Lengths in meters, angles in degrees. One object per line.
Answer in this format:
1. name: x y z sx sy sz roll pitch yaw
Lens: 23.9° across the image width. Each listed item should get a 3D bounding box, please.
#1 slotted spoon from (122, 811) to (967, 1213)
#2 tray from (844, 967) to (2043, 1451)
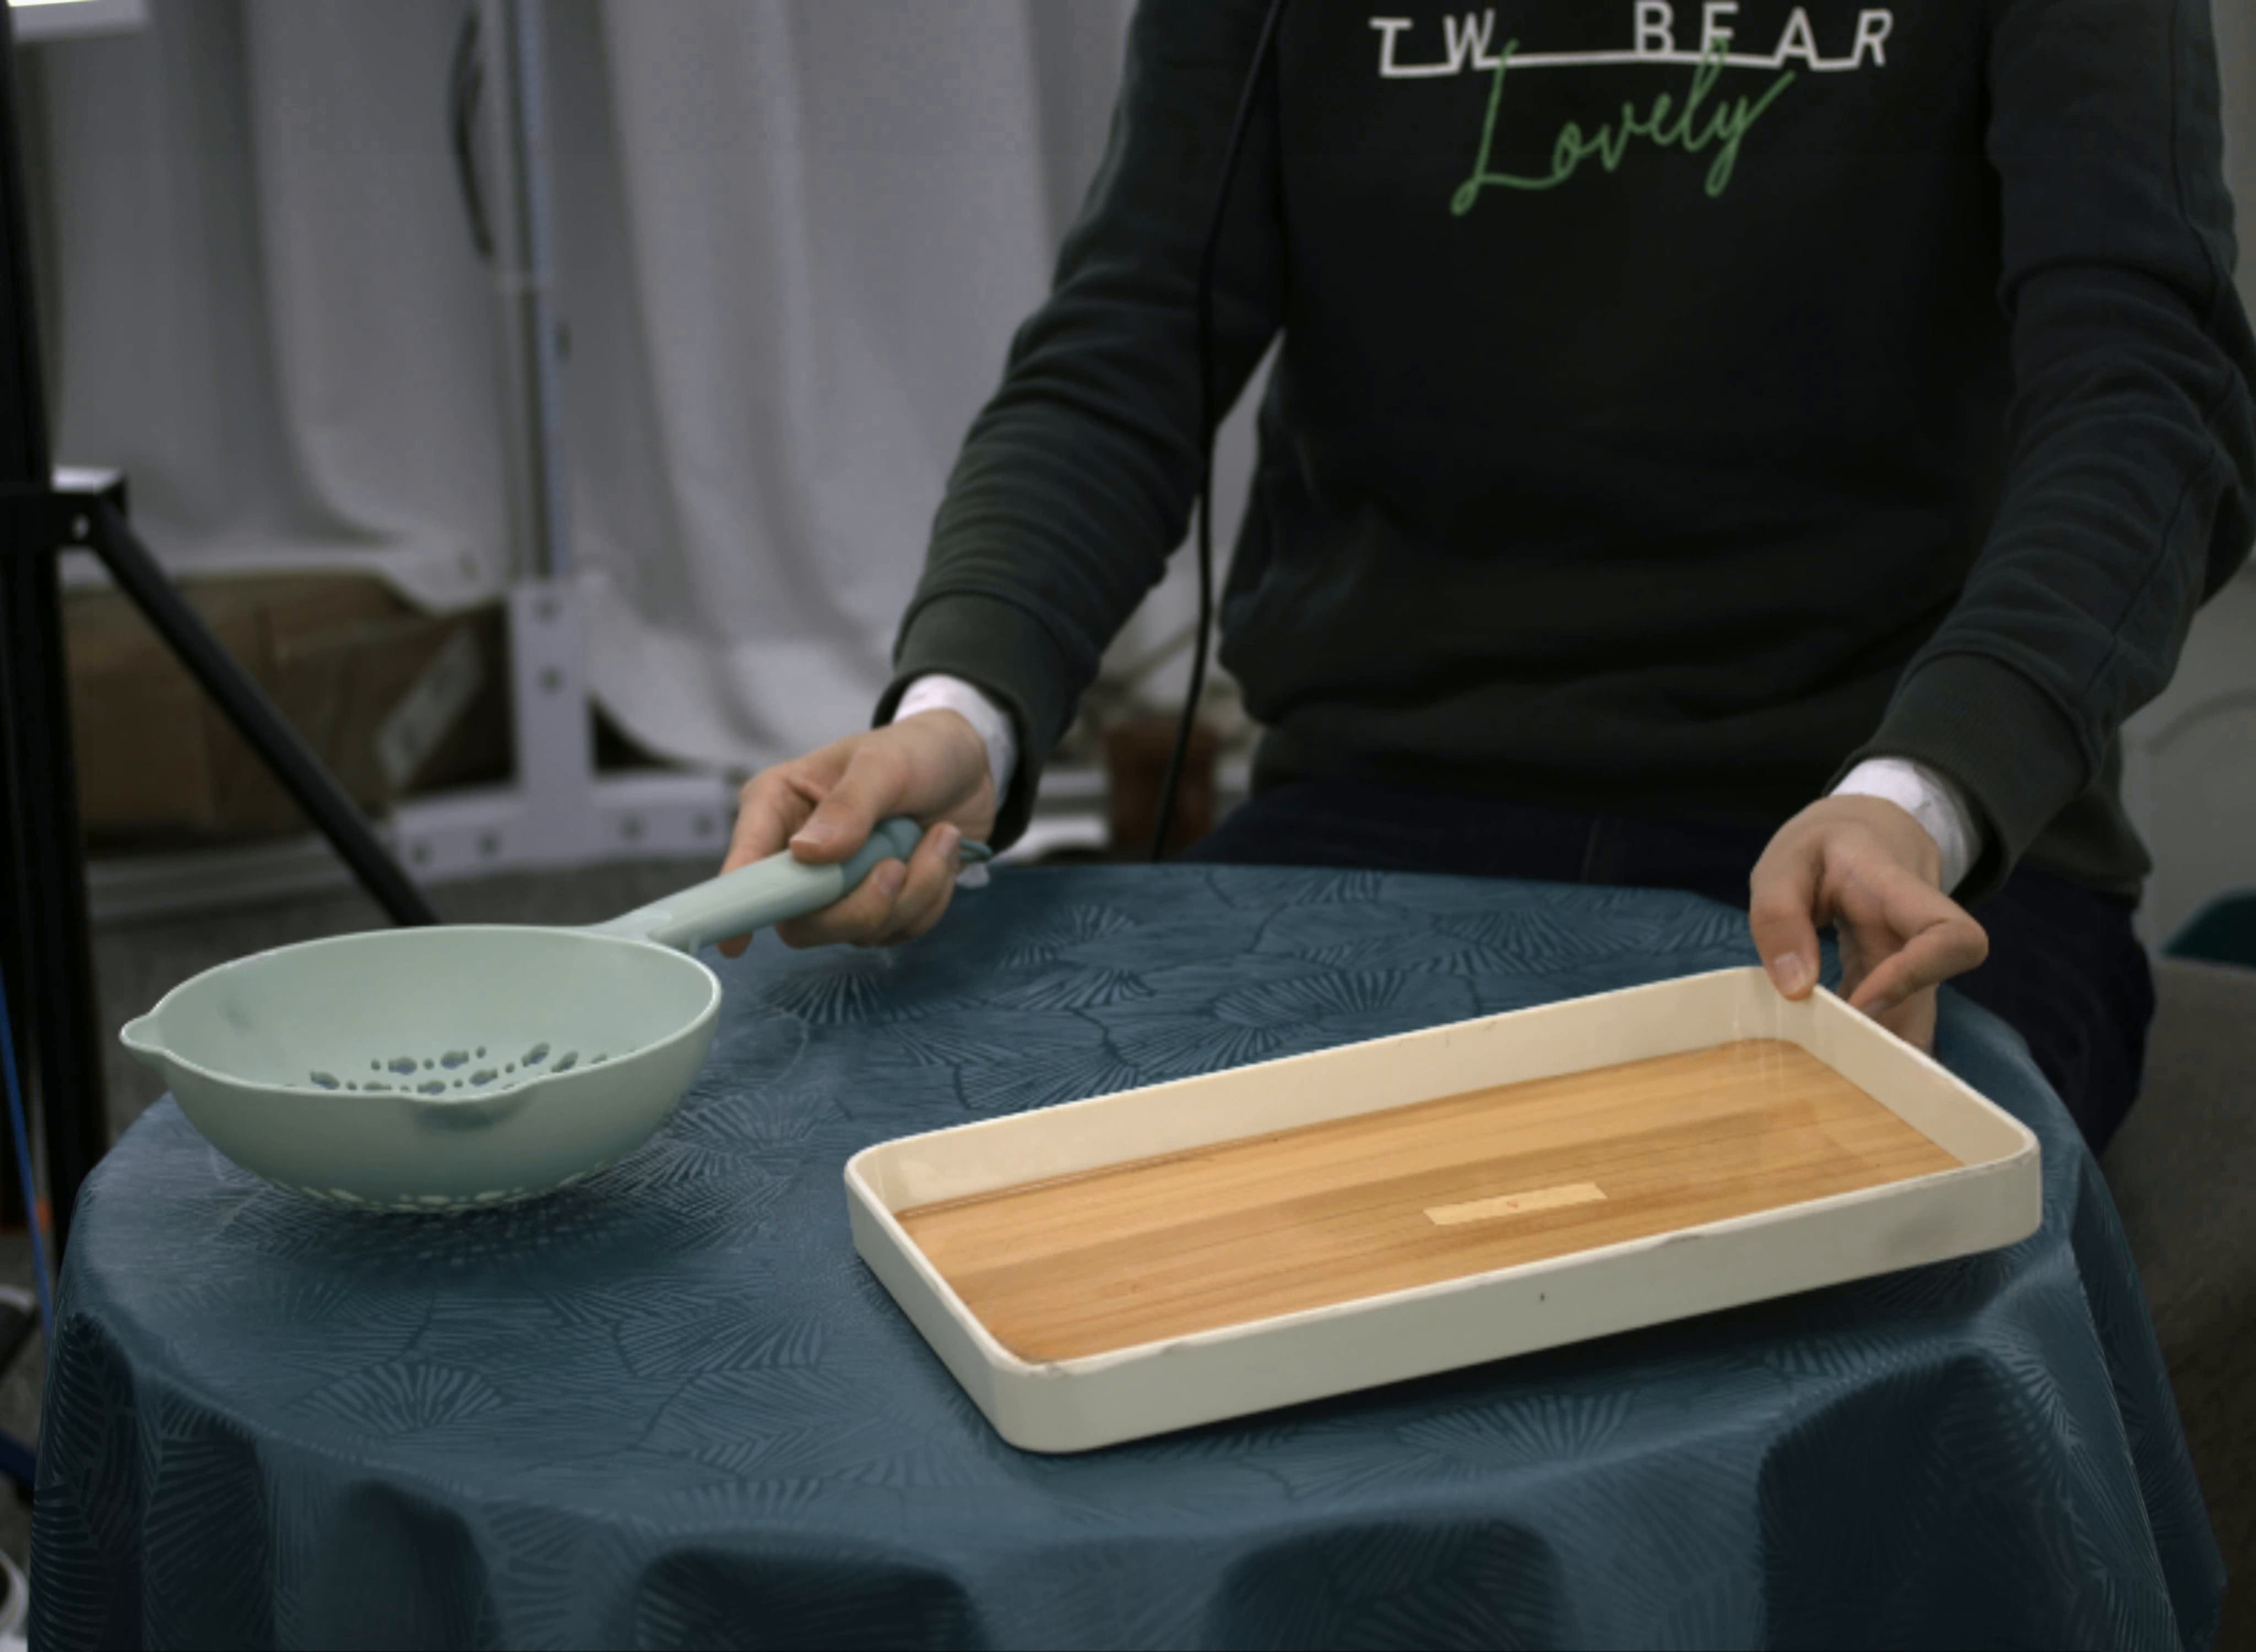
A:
1. slotted spoon: -0.153 0.042 1.660 0.172 0.075 0.353 8 26 31
2. tray: 0.085 0.103 1.477 0.296 0.027 0.194 -10 17 -13
